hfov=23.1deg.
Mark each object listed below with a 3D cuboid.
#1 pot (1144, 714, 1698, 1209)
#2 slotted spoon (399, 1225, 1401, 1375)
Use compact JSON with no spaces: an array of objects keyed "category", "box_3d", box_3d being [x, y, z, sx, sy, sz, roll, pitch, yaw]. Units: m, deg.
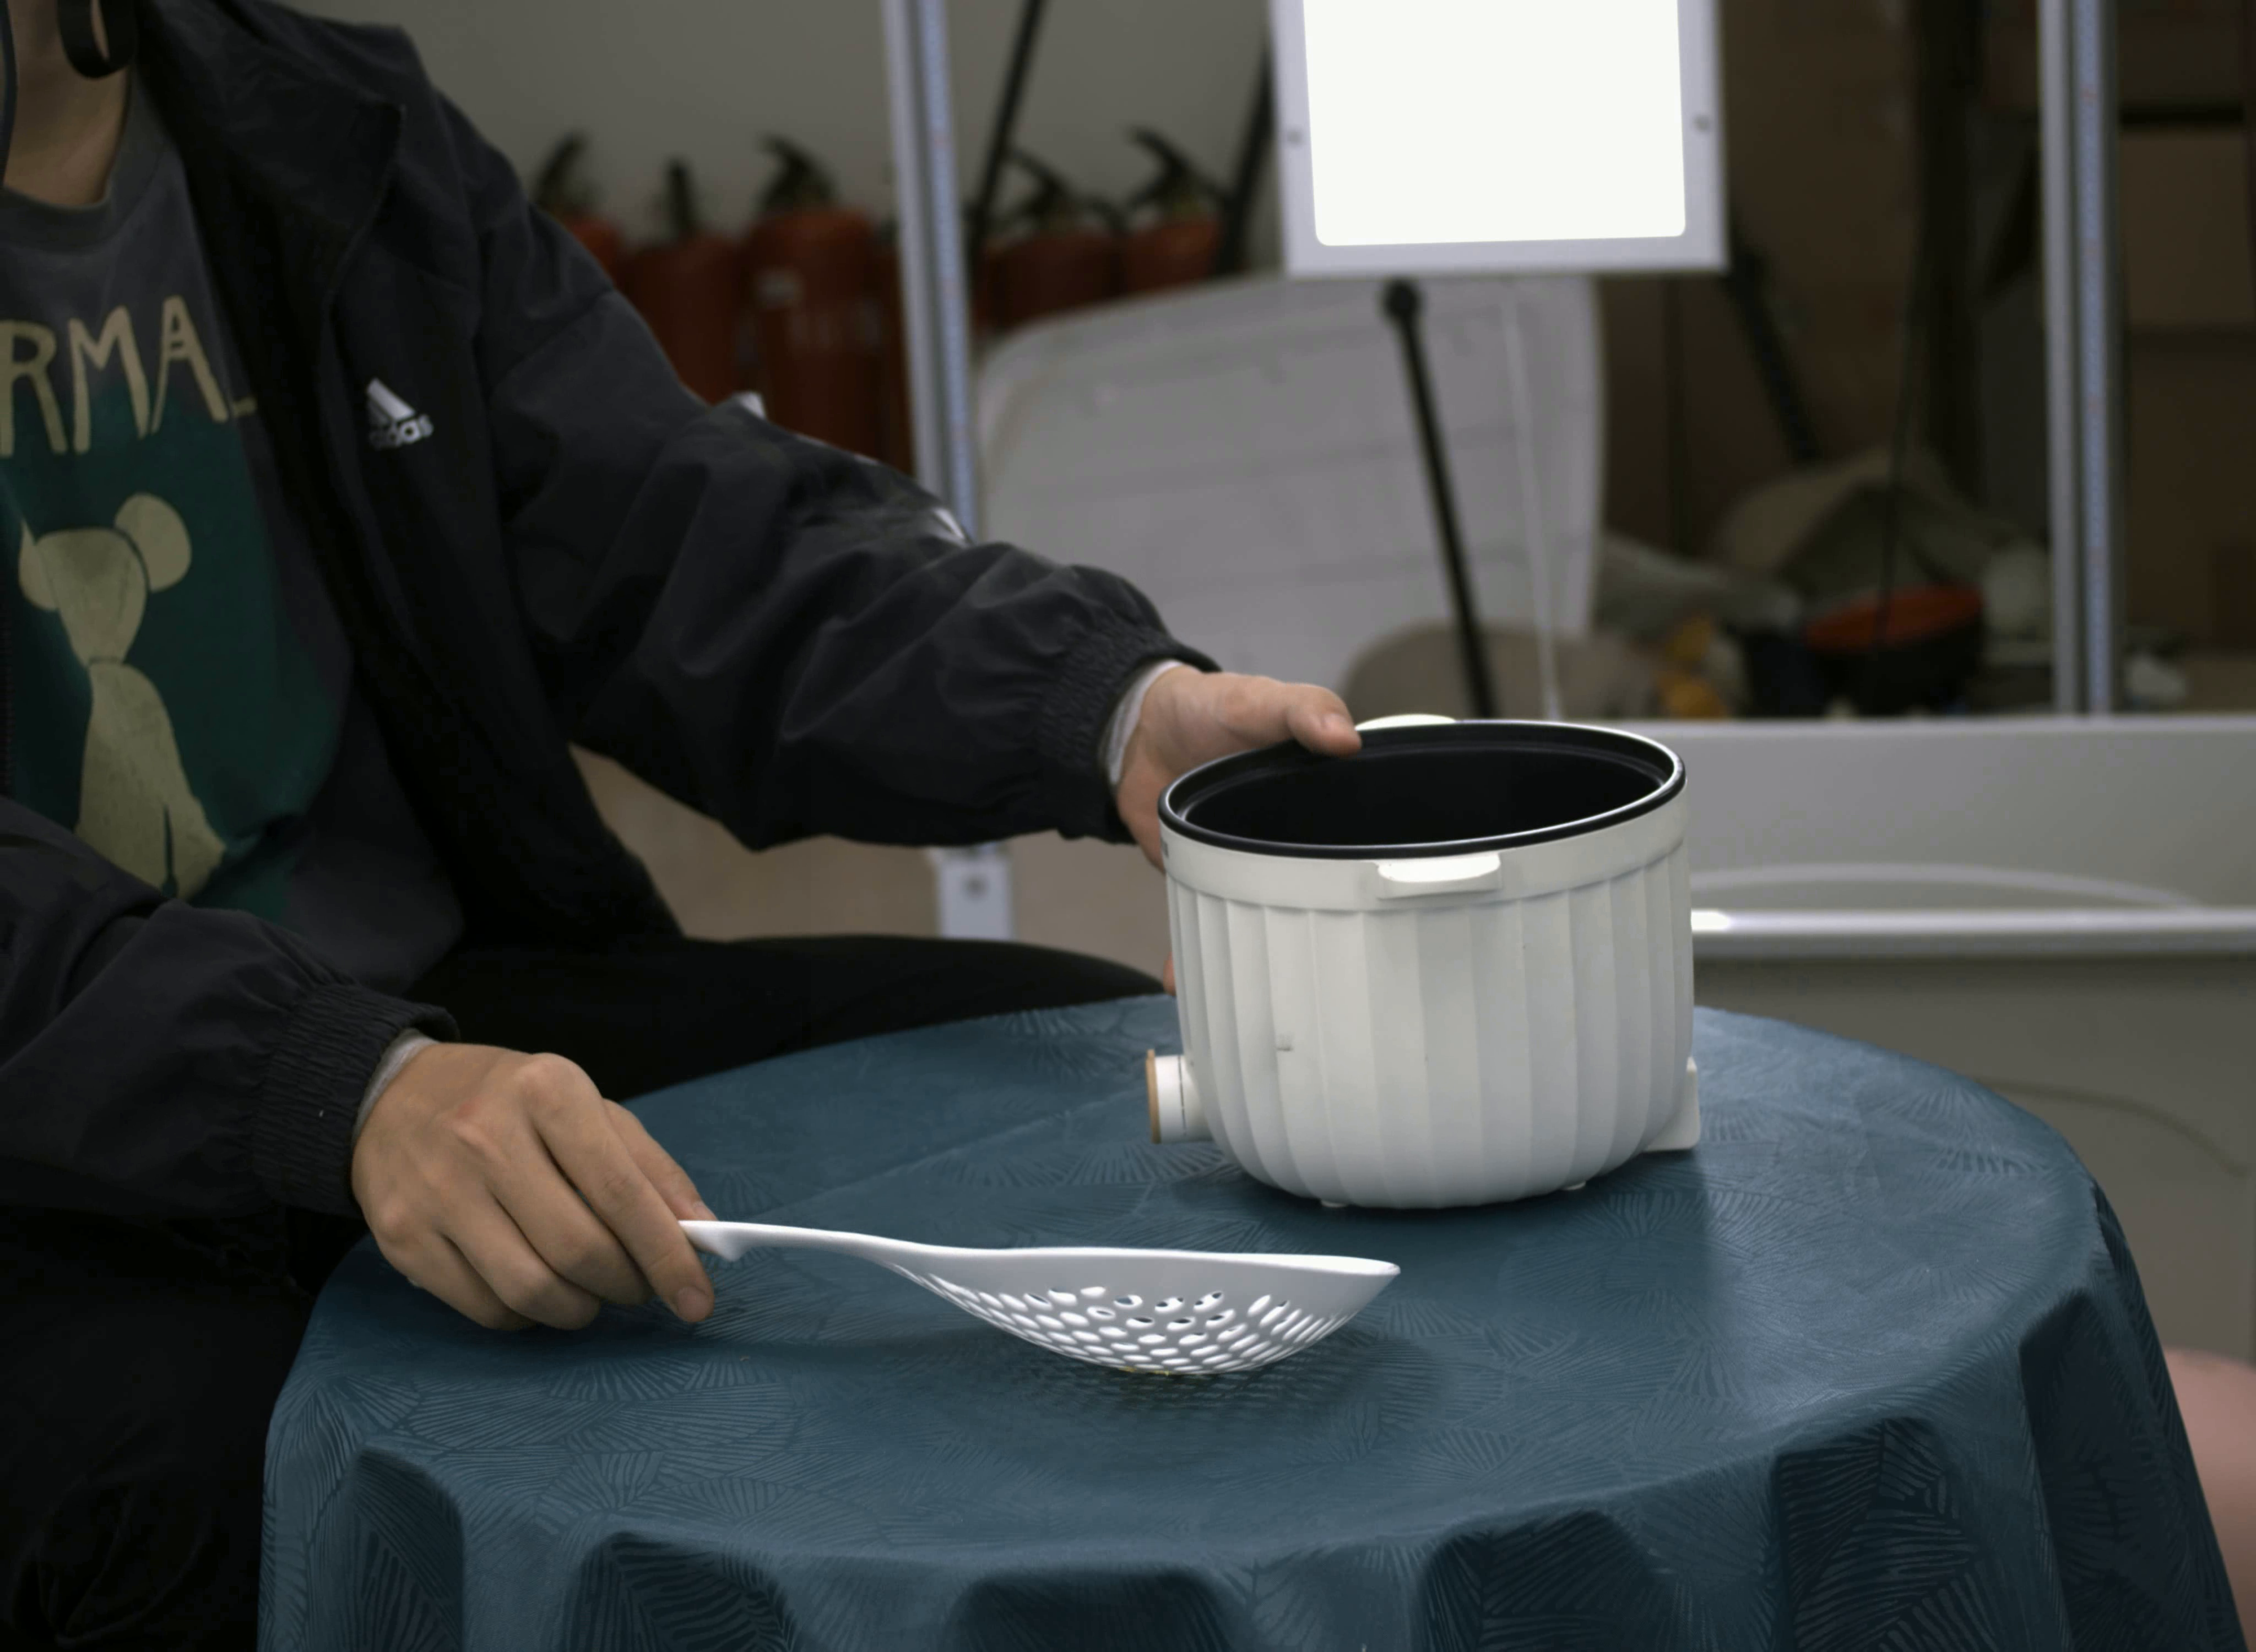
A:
[{"category":"pot","box_3d":[0.100,0.049,1.884,0.190,0.143,0.240,-2,13,1]},{"category":"slotted spoon","box_3d":[-0.081,0.142,1.754,0.354,0.050,0.134,4,0,30]}]
